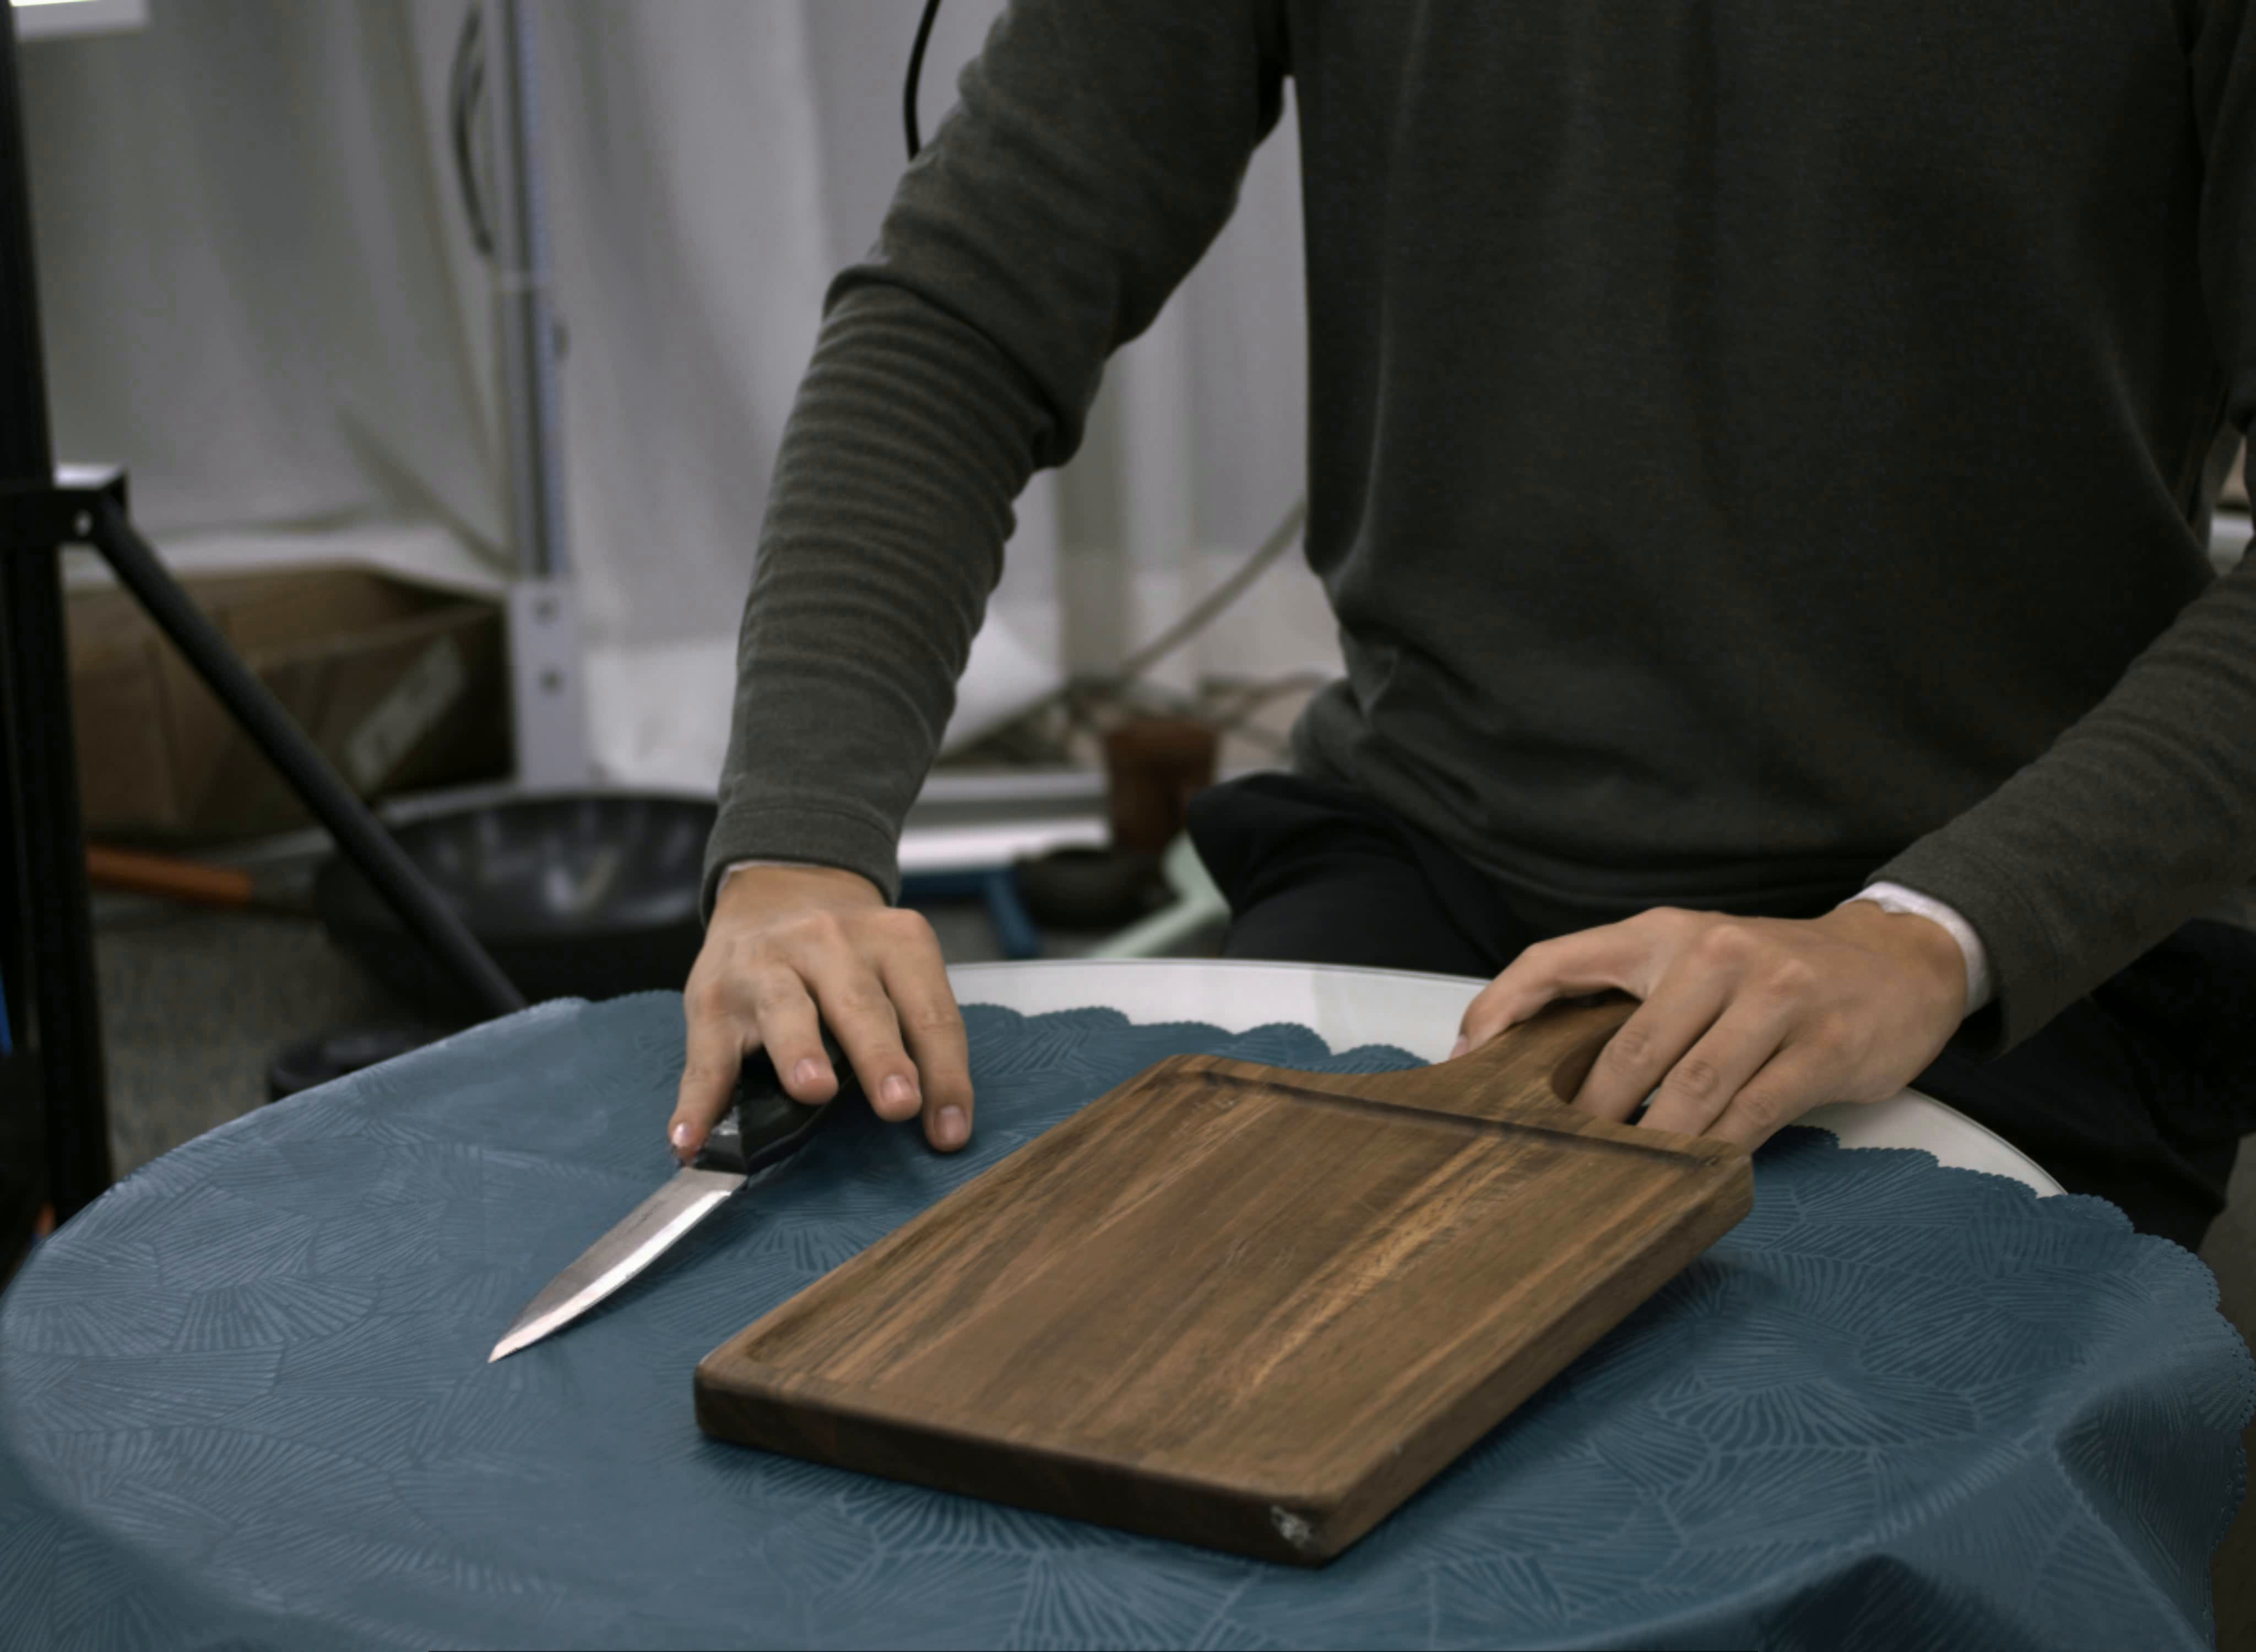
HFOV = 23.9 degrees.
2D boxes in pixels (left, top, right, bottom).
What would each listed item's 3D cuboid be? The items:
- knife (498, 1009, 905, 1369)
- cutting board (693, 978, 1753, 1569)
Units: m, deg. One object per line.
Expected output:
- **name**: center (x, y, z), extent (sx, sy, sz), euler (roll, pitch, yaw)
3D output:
- **knife**: center (-0.125, 0.104, 1.549), extent (0.025, 0.016, 0.235), euler (4, 23, 25)
- **cutting board**: center (0.056, 0.110, 1.472), extent (0.205, 0.023, 0.346), euler (8, 22, 31)
